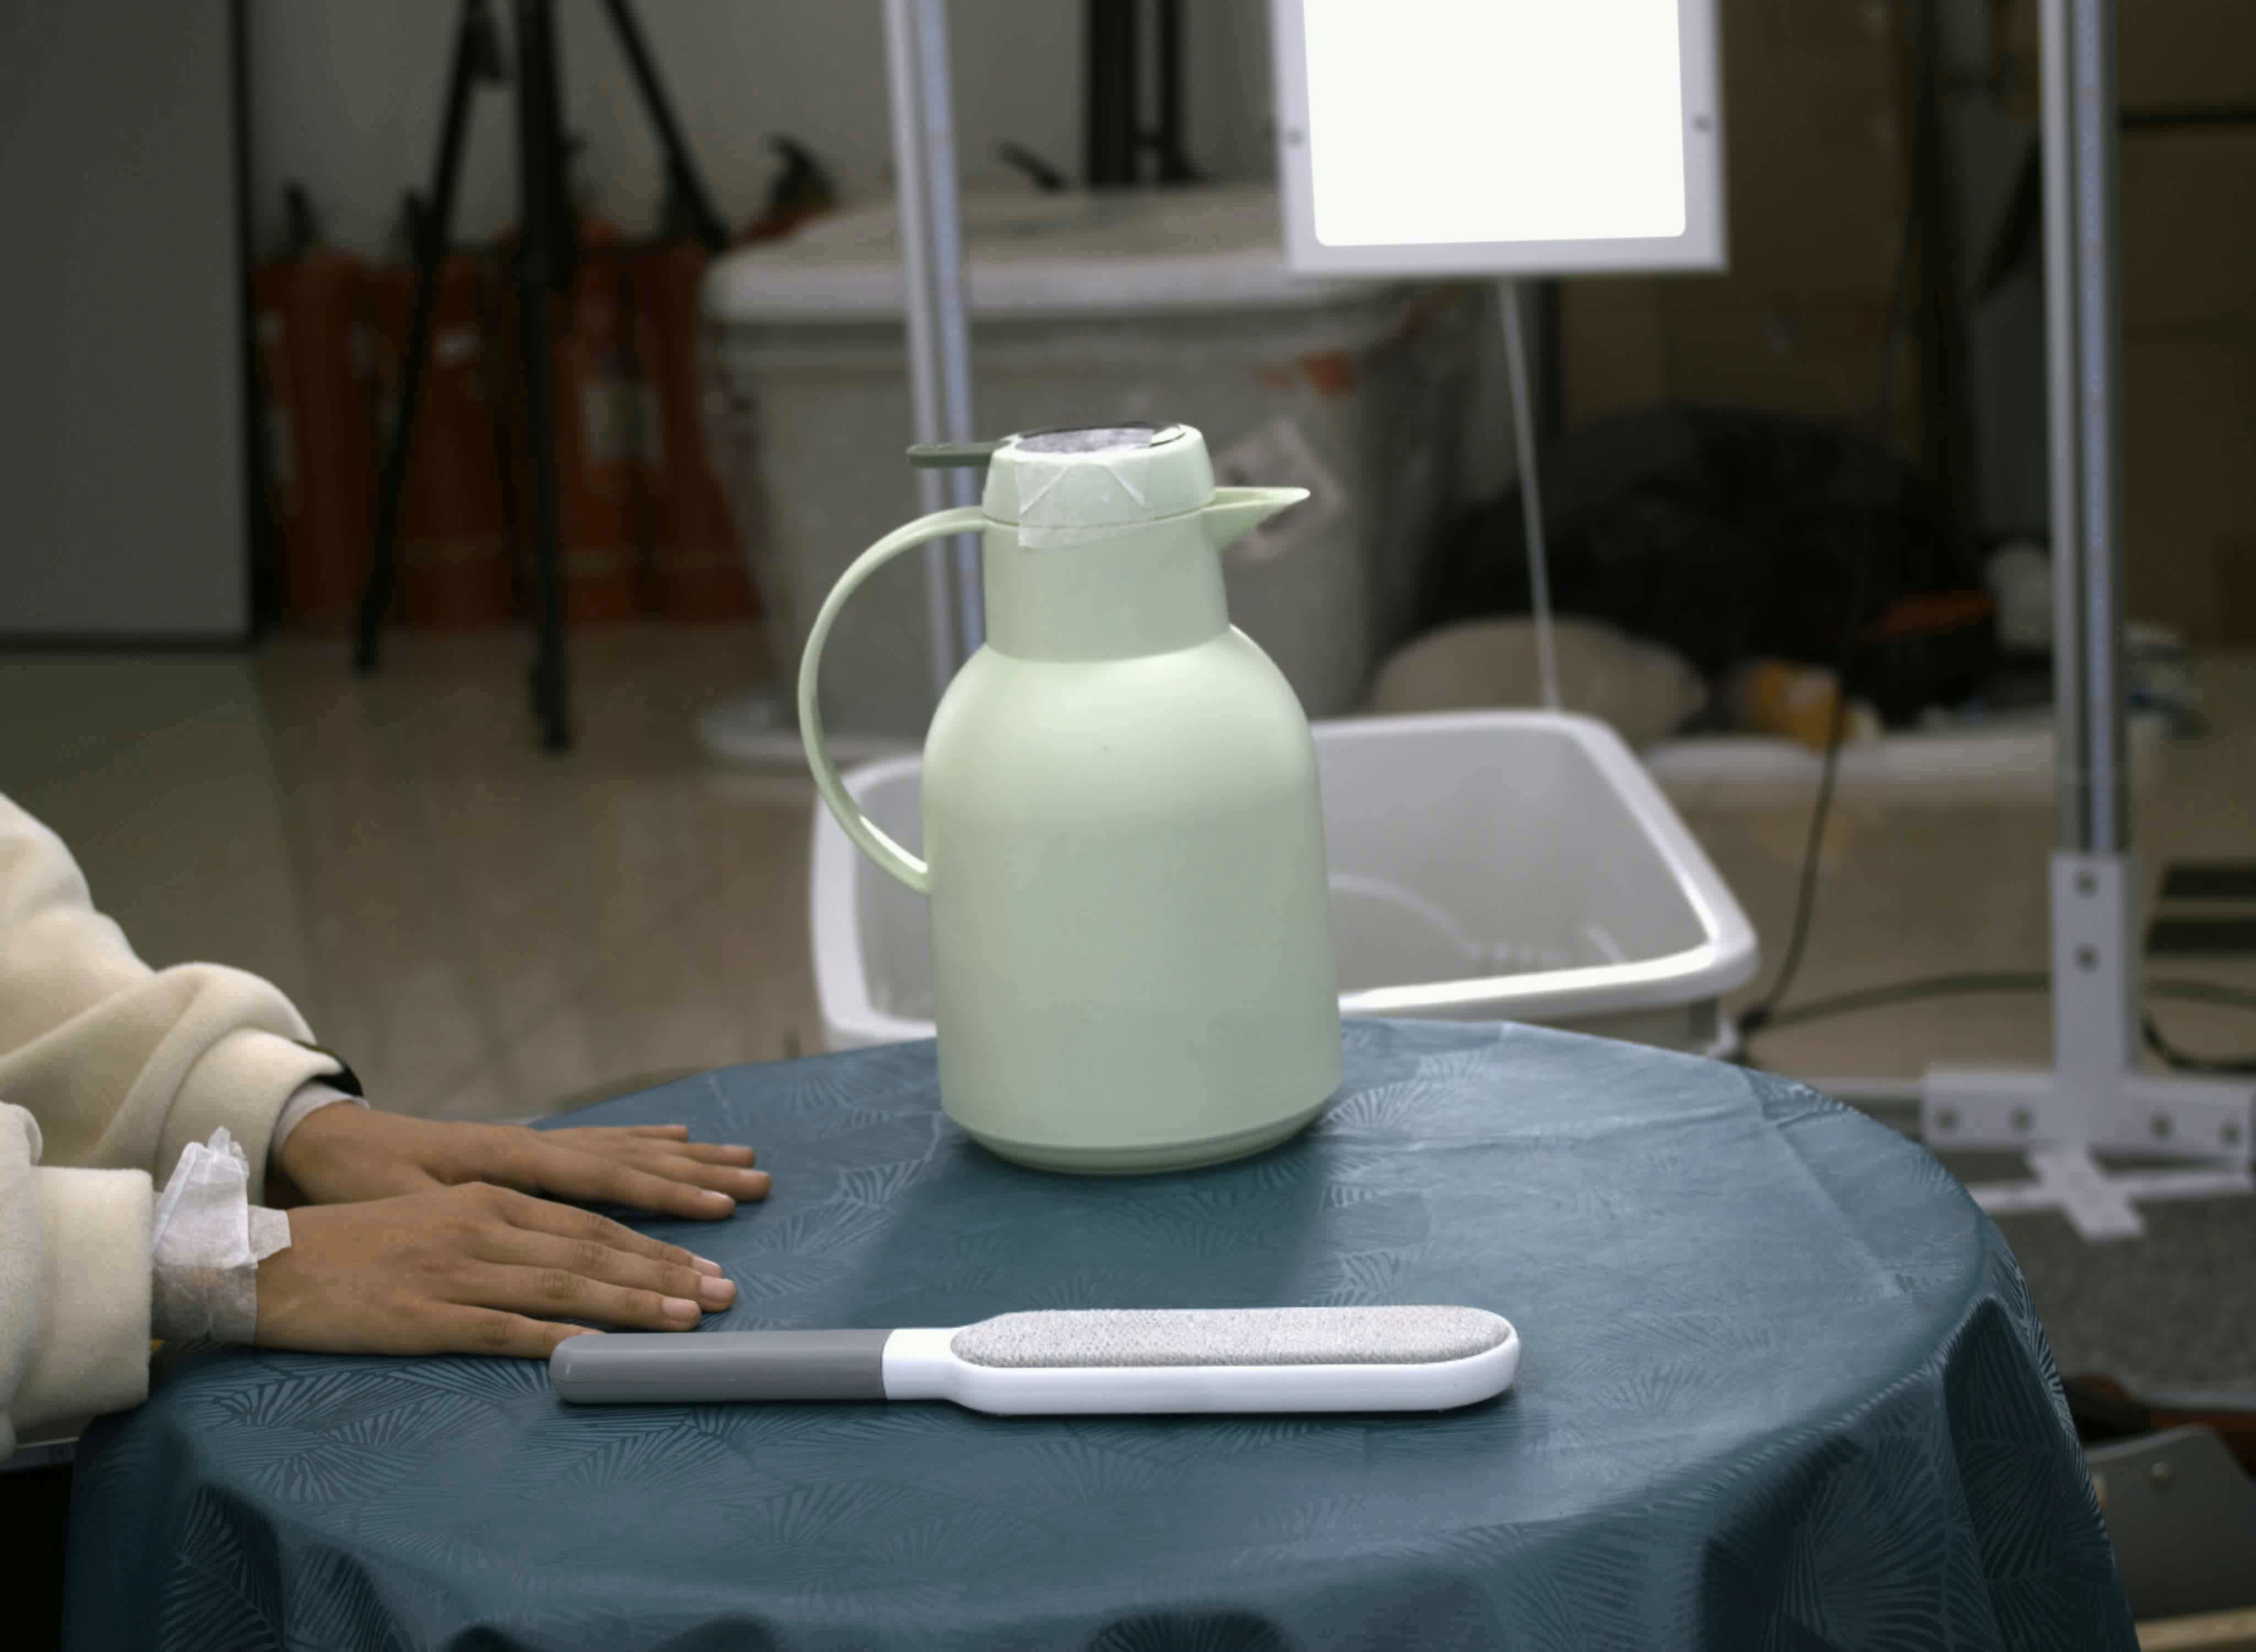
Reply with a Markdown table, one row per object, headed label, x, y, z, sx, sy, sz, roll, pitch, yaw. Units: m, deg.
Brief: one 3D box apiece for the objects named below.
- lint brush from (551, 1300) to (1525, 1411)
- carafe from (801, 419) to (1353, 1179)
| label | x | y | z | sx | sy | sz | roll | pitch | yaw |
| --- | --- | --- | --- | --- | --- | --- | --- | --- | --- |
| lint brush | -0.031 | 0.164 | 1.705 | 0.311 | 0.021 | 0.059 | -2 | 16 | 14 |
| carafe | -0.016 | -0.012 | 1.946 | 0.187 | 0.257 | 0.143 | -7 | 15 | 6 |
